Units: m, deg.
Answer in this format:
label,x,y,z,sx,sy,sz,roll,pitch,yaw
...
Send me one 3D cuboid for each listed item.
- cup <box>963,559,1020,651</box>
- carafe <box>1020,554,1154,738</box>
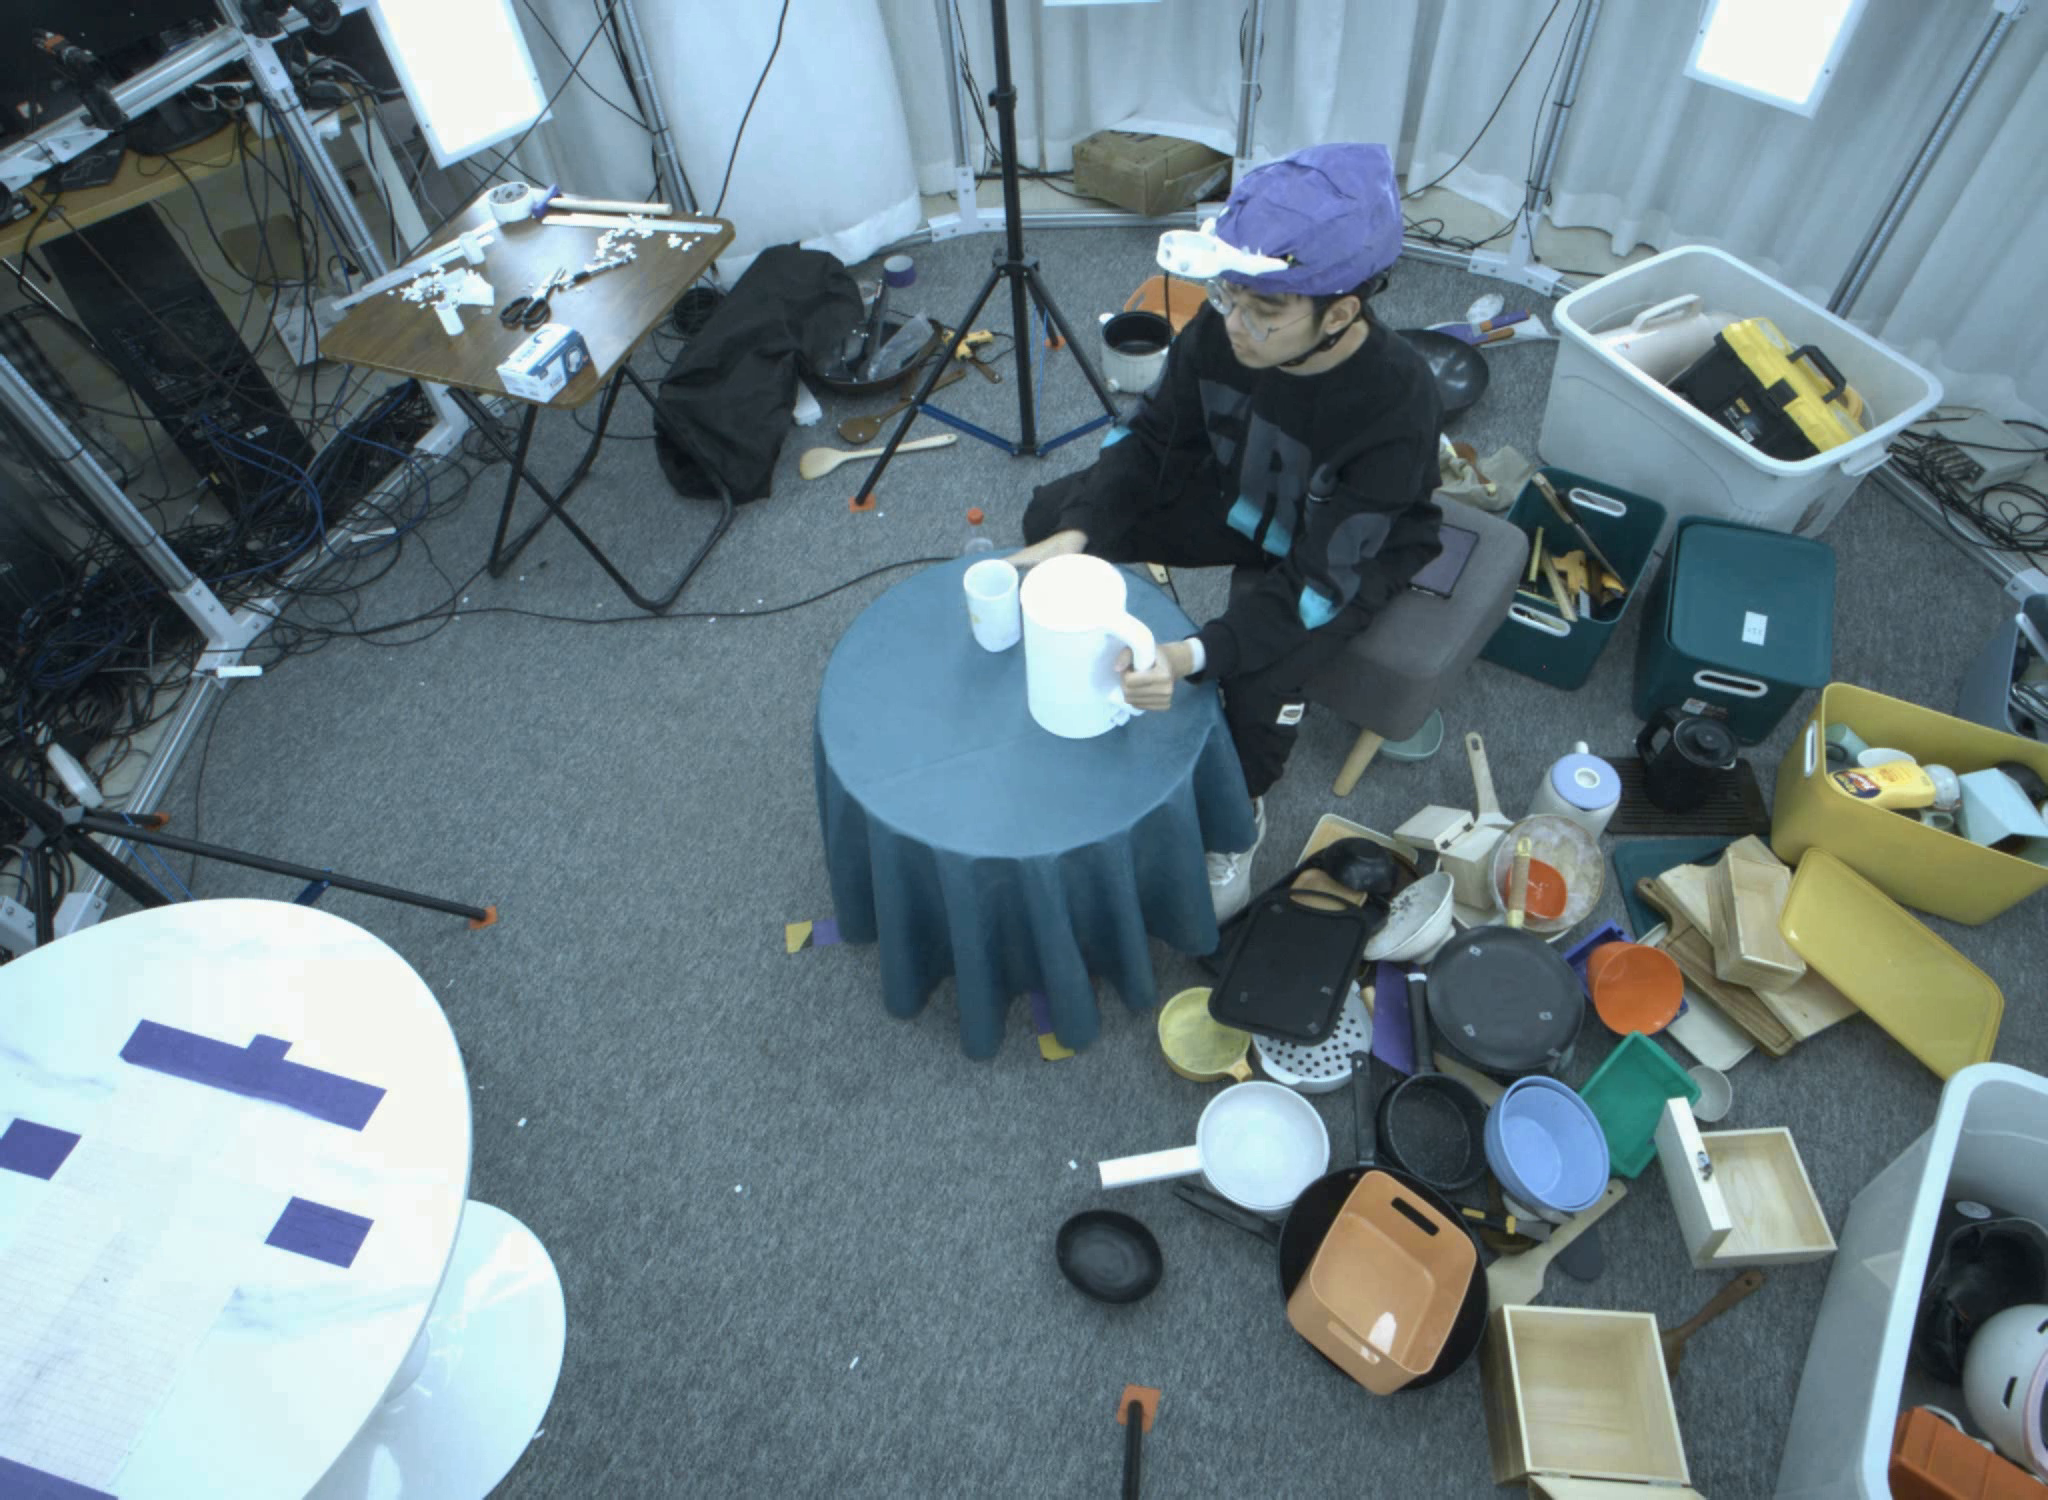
label,x,y,z,sx,sy,sz,roll,pitch,yaw
cup,-0.047,-0.217,1.862,0.081,0.127,0.081,-1,54,2
carafe,0.091,-0.131,1.730,0.209,0.243,0.153,35,65,25
